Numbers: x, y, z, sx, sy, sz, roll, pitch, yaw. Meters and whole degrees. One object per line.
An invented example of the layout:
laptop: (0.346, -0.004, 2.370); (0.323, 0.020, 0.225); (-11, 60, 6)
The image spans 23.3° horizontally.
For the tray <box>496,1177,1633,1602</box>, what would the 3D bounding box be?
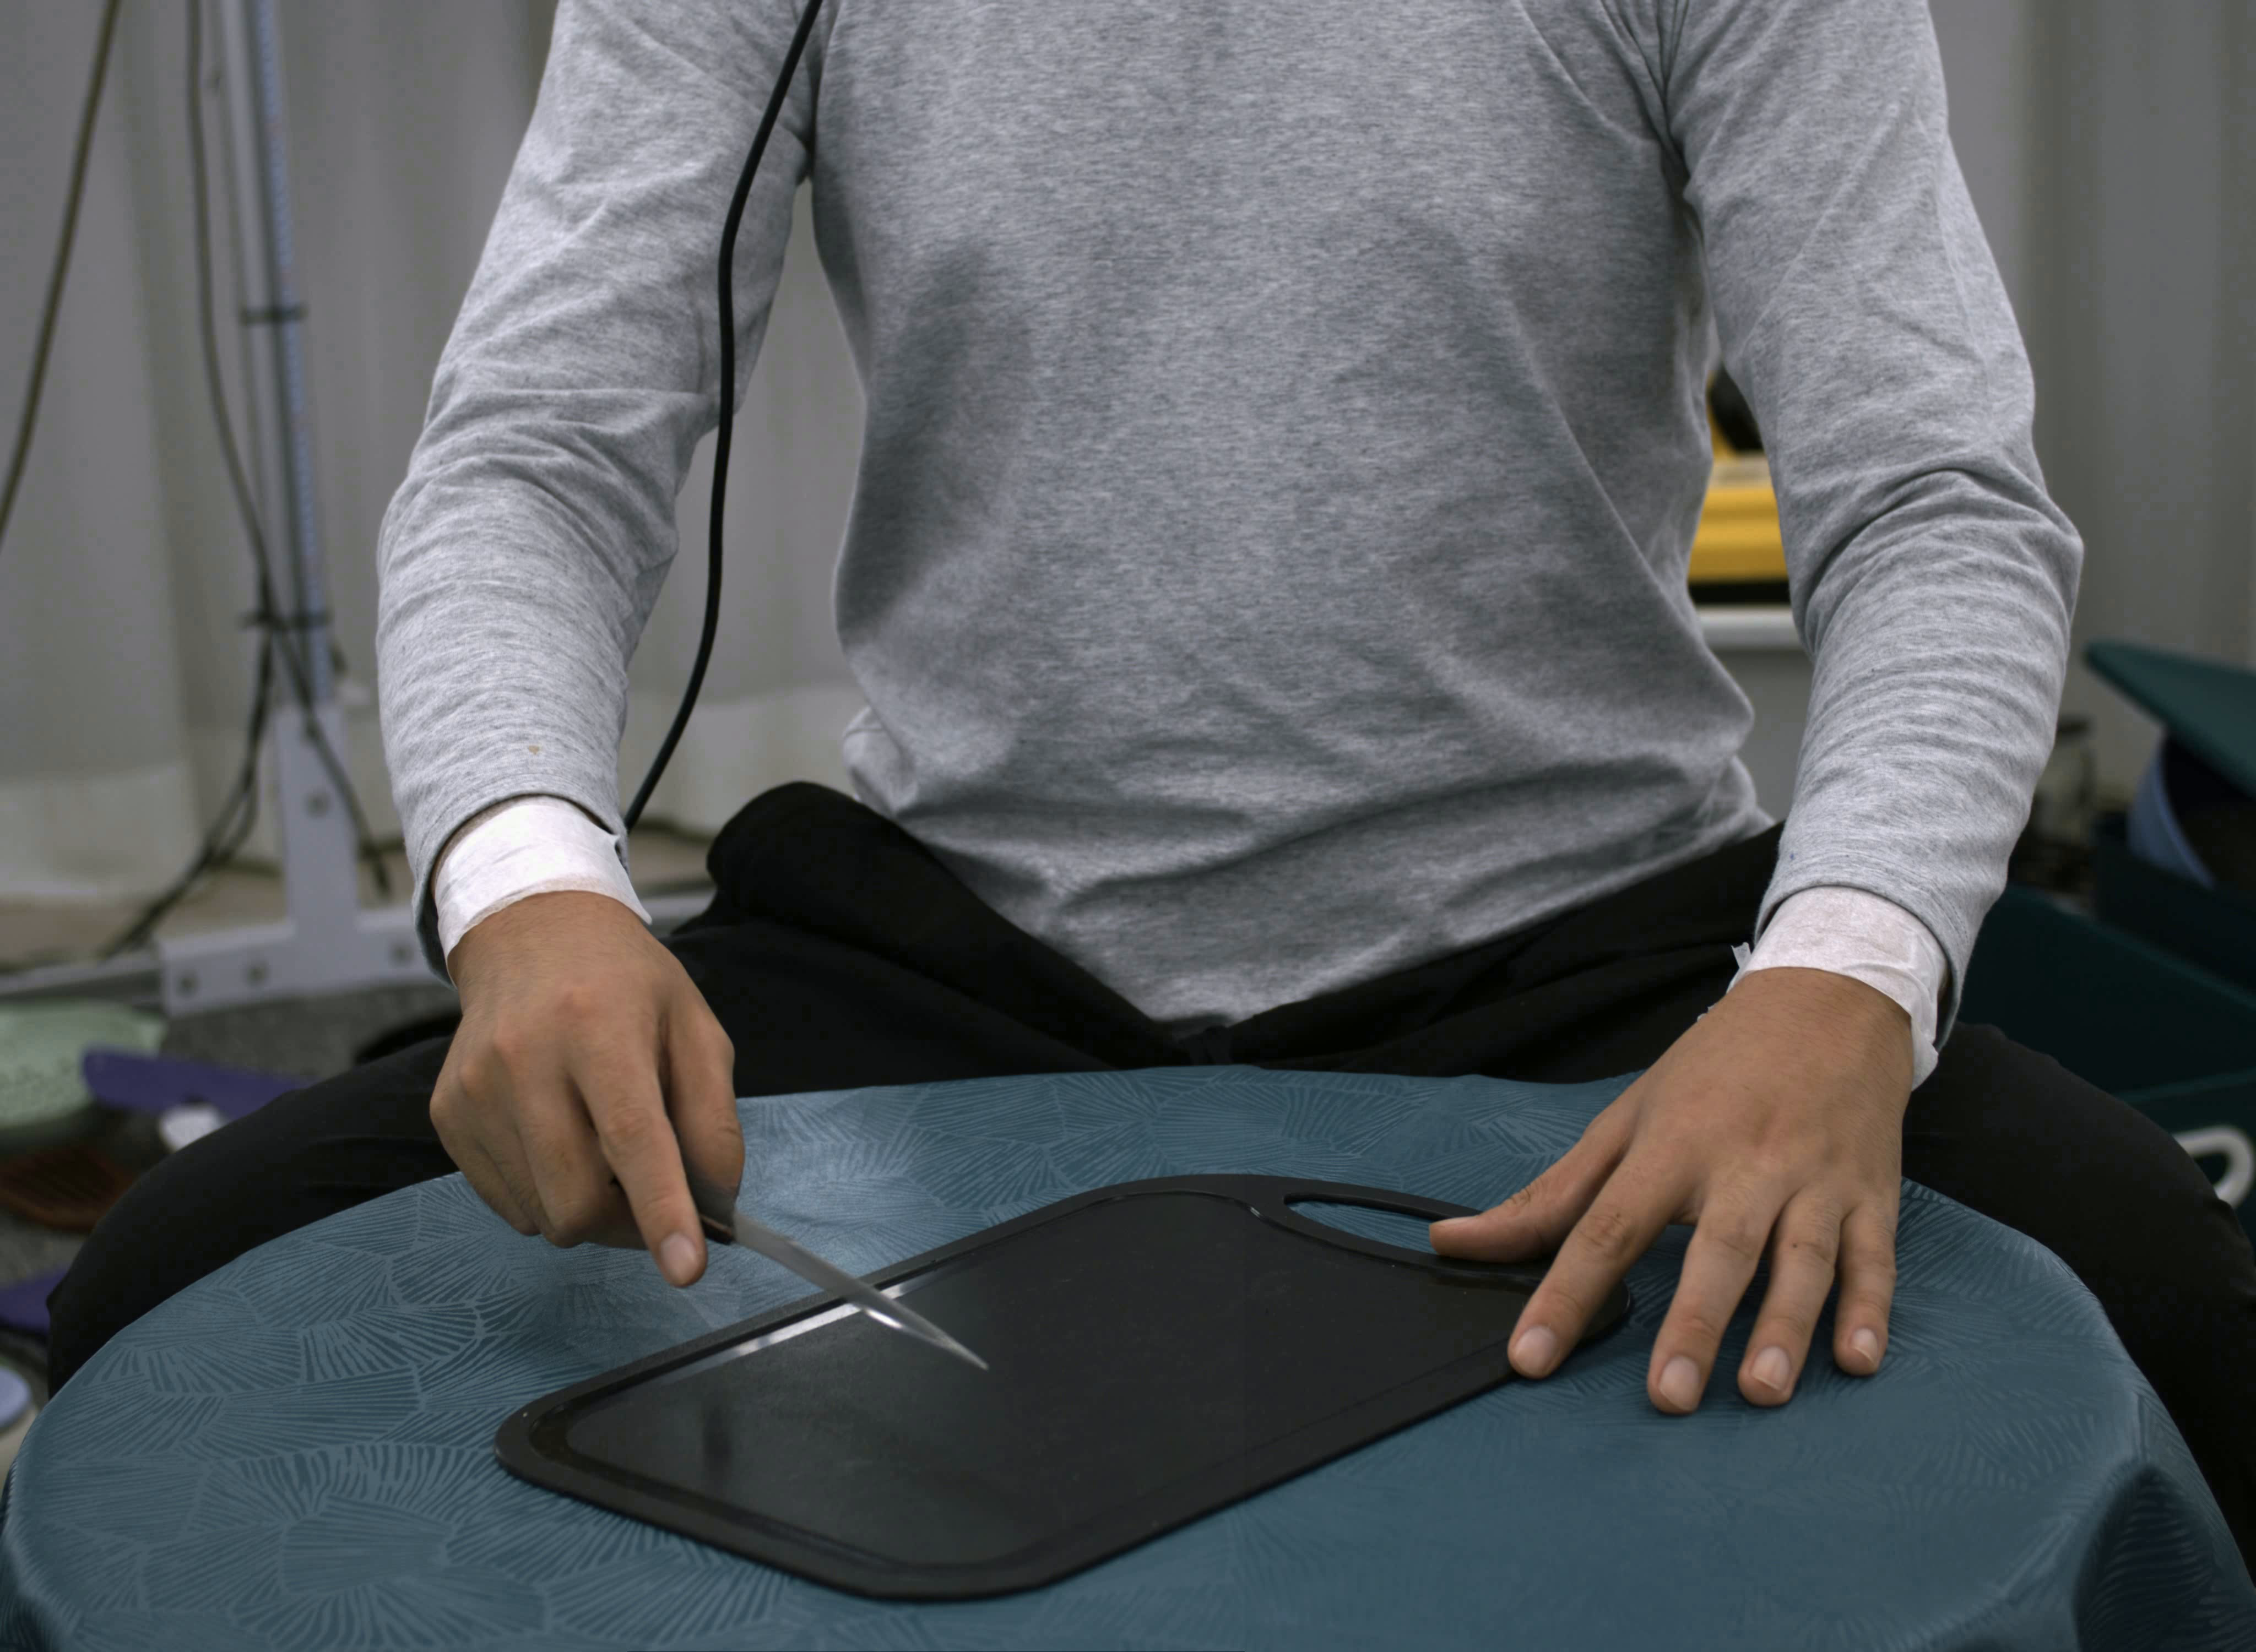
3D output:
tray: (-0.009, 0.152, 1.568); (0.212, 0.010, 0.325); (12, 20, 43)

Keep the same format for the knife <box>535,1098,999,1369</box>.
knife: (-0.107, 0.116, 1.554); (0.024, 0.016, 0.240); (5, 11, -37)
